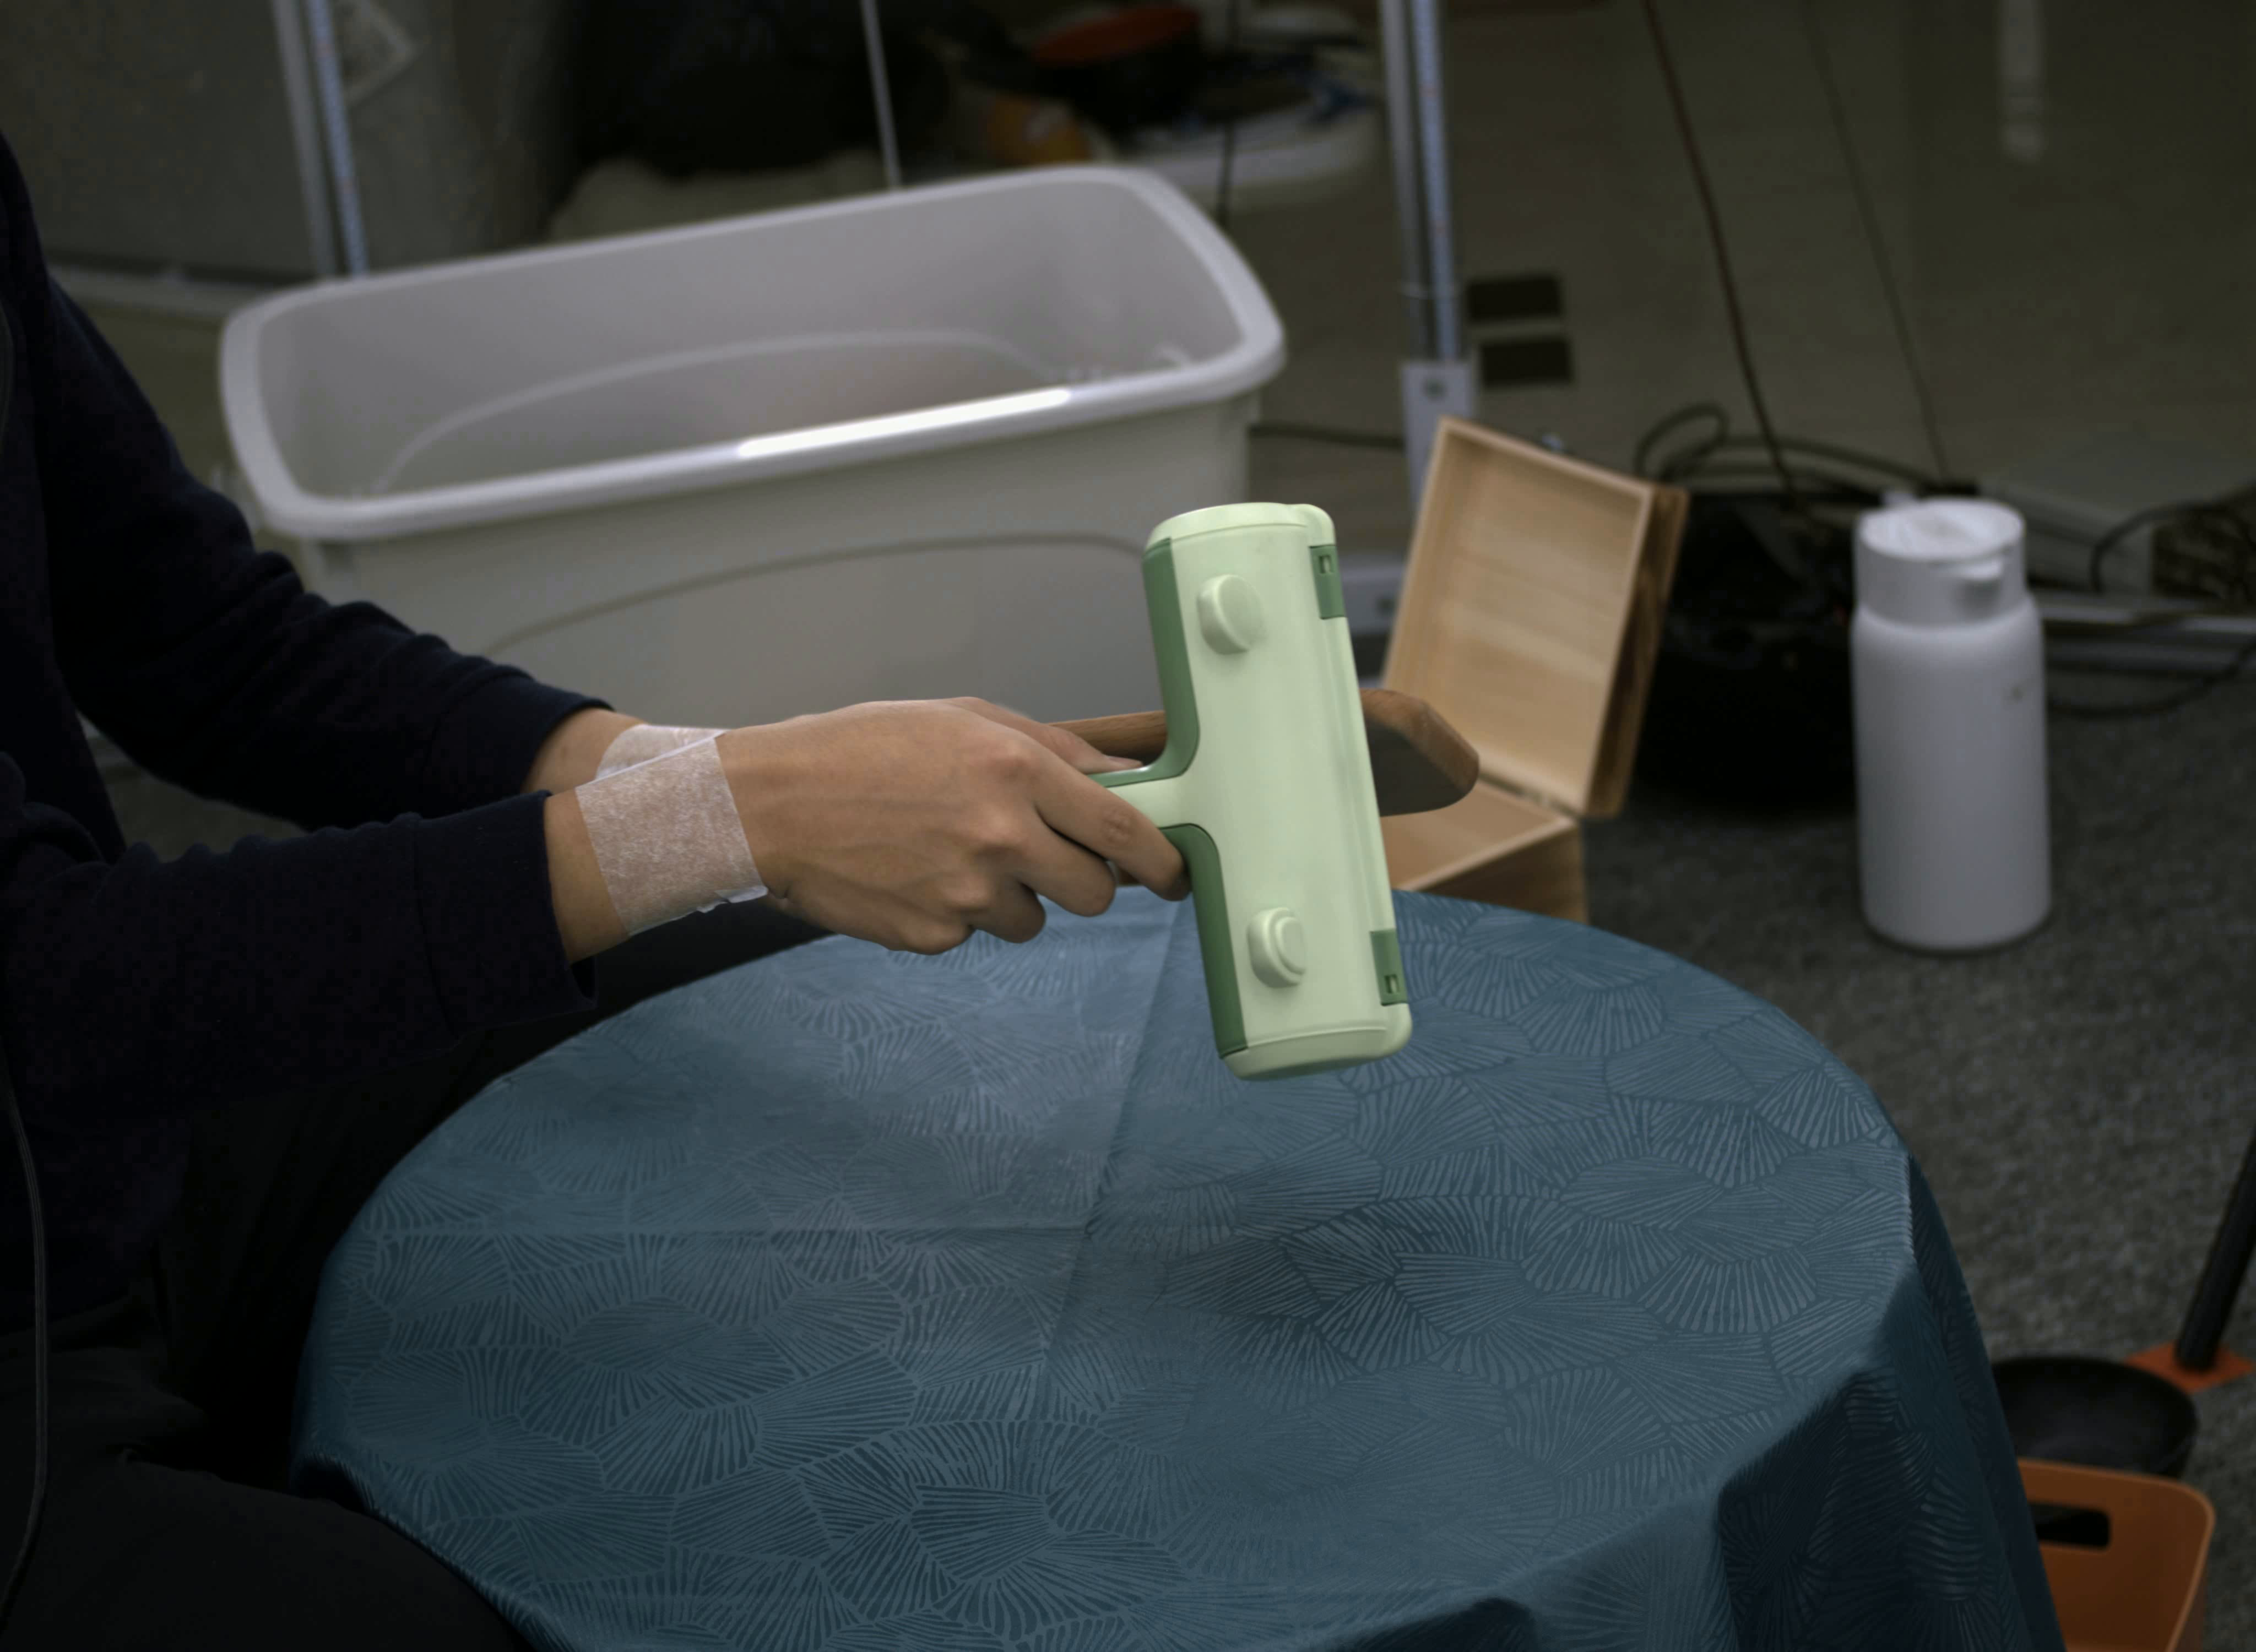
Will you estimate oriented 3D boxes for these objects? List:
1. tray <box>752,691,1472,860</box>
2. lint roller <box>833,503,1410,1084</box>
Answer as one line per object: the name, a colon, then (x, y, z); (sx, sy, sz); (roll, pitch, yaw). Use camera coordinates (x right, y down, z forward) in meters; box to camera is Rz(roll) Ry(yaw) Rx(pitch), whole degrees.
tray: (-0.006, -0.016, 2.058); (0.250, 0.022, 0.132); (-7, -18, 18)
lint roller: (-0.008, -0.005, 1.928); (0.183, 0.198, 0.082); (-8, -7, -9)
